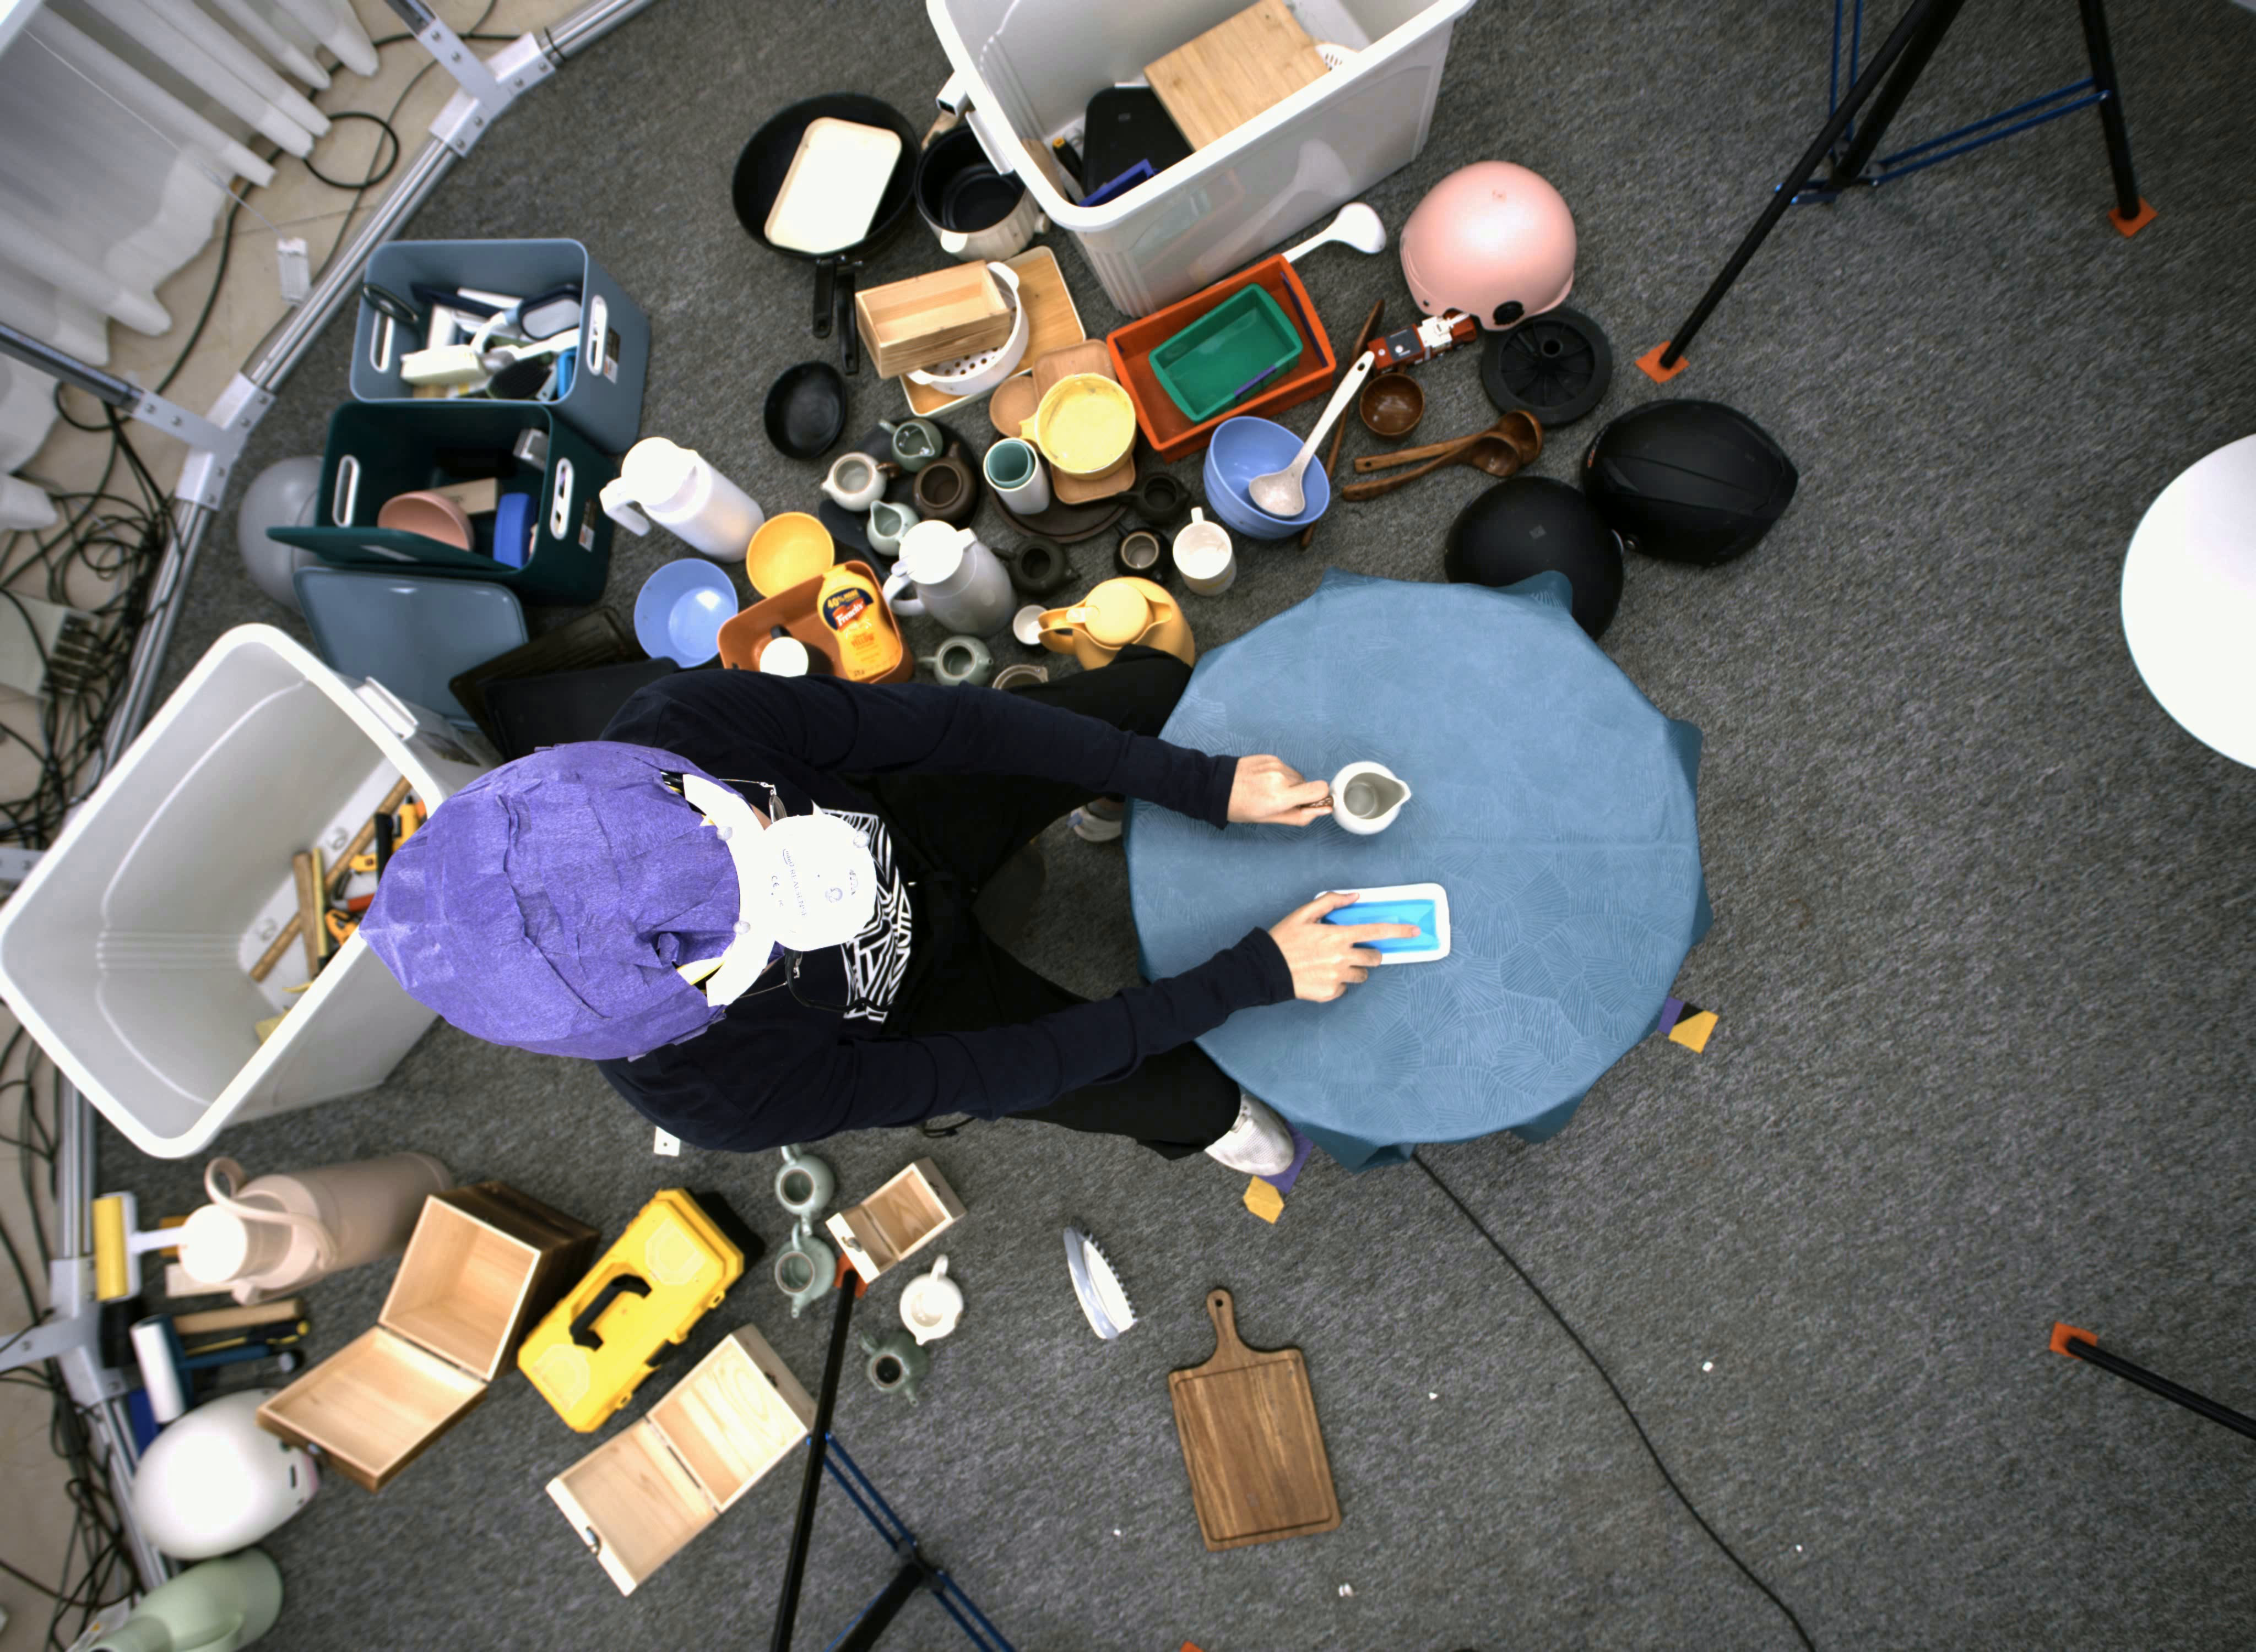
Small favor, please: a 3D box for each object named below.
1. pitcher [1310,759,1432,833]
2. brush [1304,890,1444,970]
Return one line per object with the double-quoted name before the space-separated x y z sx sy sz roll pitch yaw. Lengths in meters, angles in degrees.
"pitcher" 0.244 -0.031 1.422 0.119 0.088 0.075 -2 84 -2
"brush" 0.255 0.104 1.429 0.144 0.056 0.083 -2 83 8
